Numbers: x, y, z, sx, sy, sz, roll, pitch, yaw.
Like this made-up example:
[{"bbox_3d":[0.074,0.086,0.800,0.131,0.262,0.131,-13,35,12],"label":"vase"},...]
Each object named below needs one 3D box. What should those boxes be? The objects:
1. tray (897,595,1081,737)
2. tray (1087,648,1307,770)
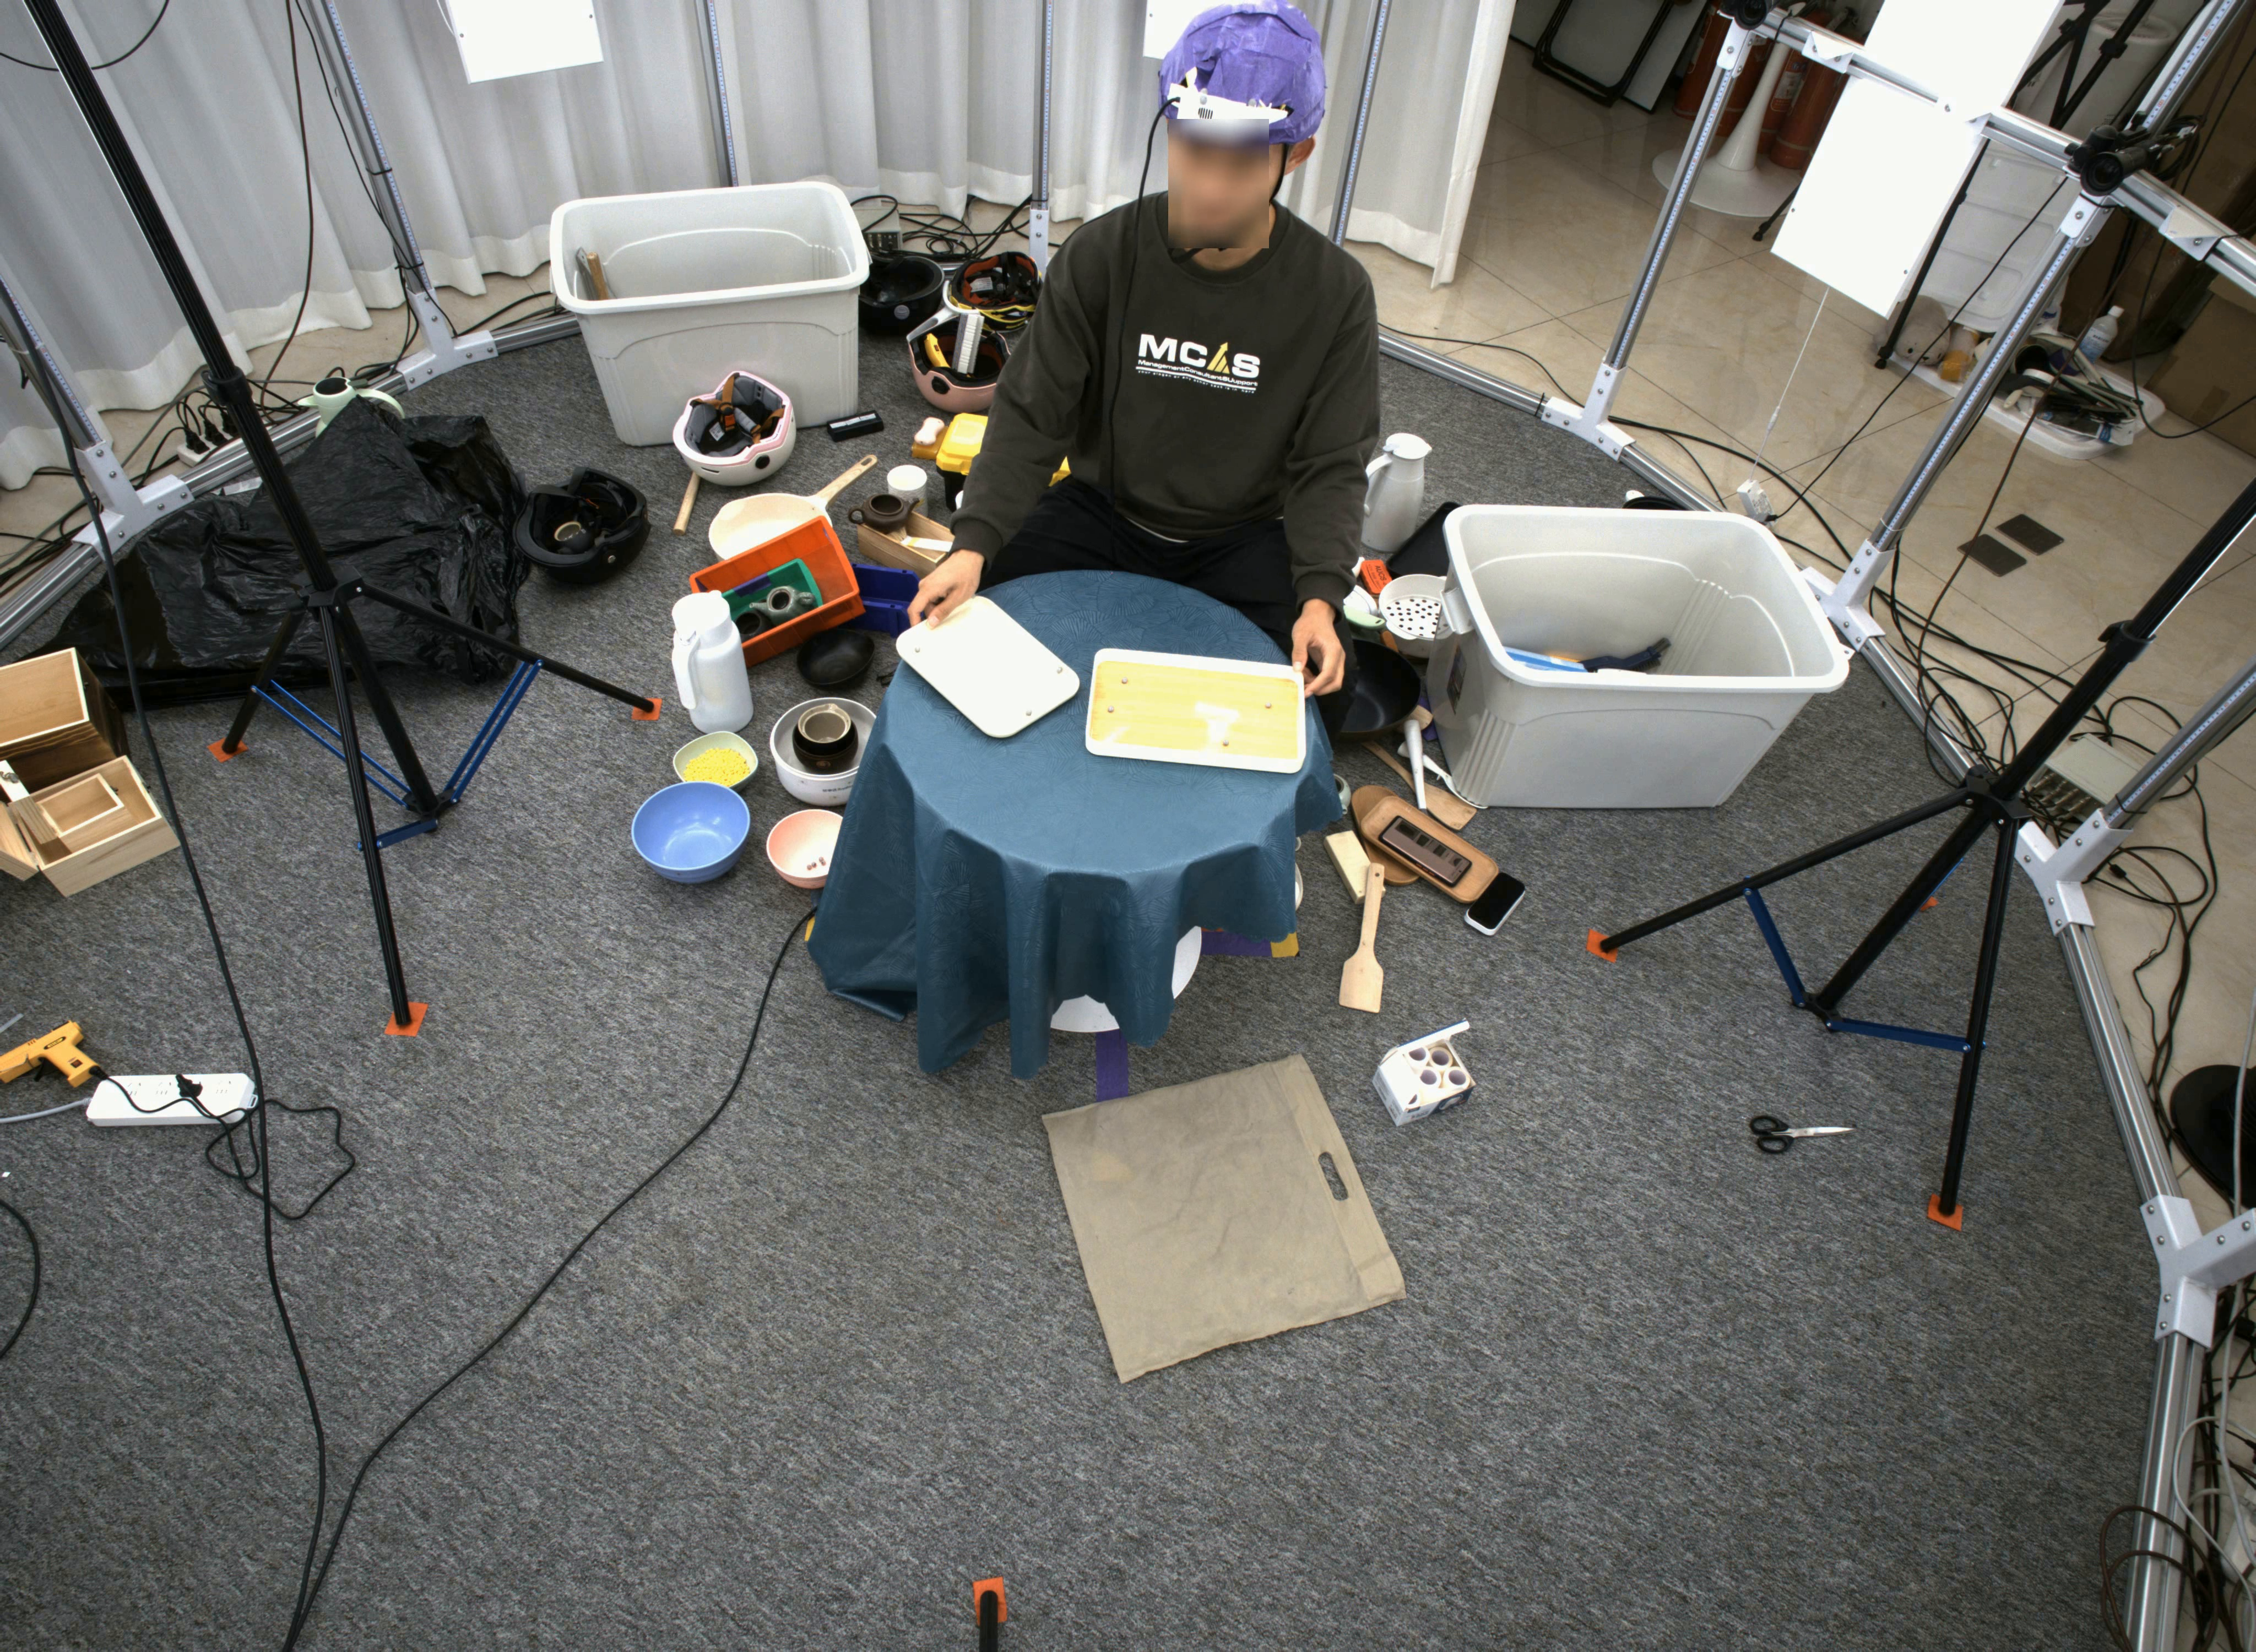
[{"bbox_3d":[-0.197,-0.228,1.826,0.173,0.017,0.243,-35,64,-28],"label":"tray"},{"bbox_3d":[0.098,-0.166,1.799,0.300,0.027,0.196,5,49,0],"label":"tray"}]
